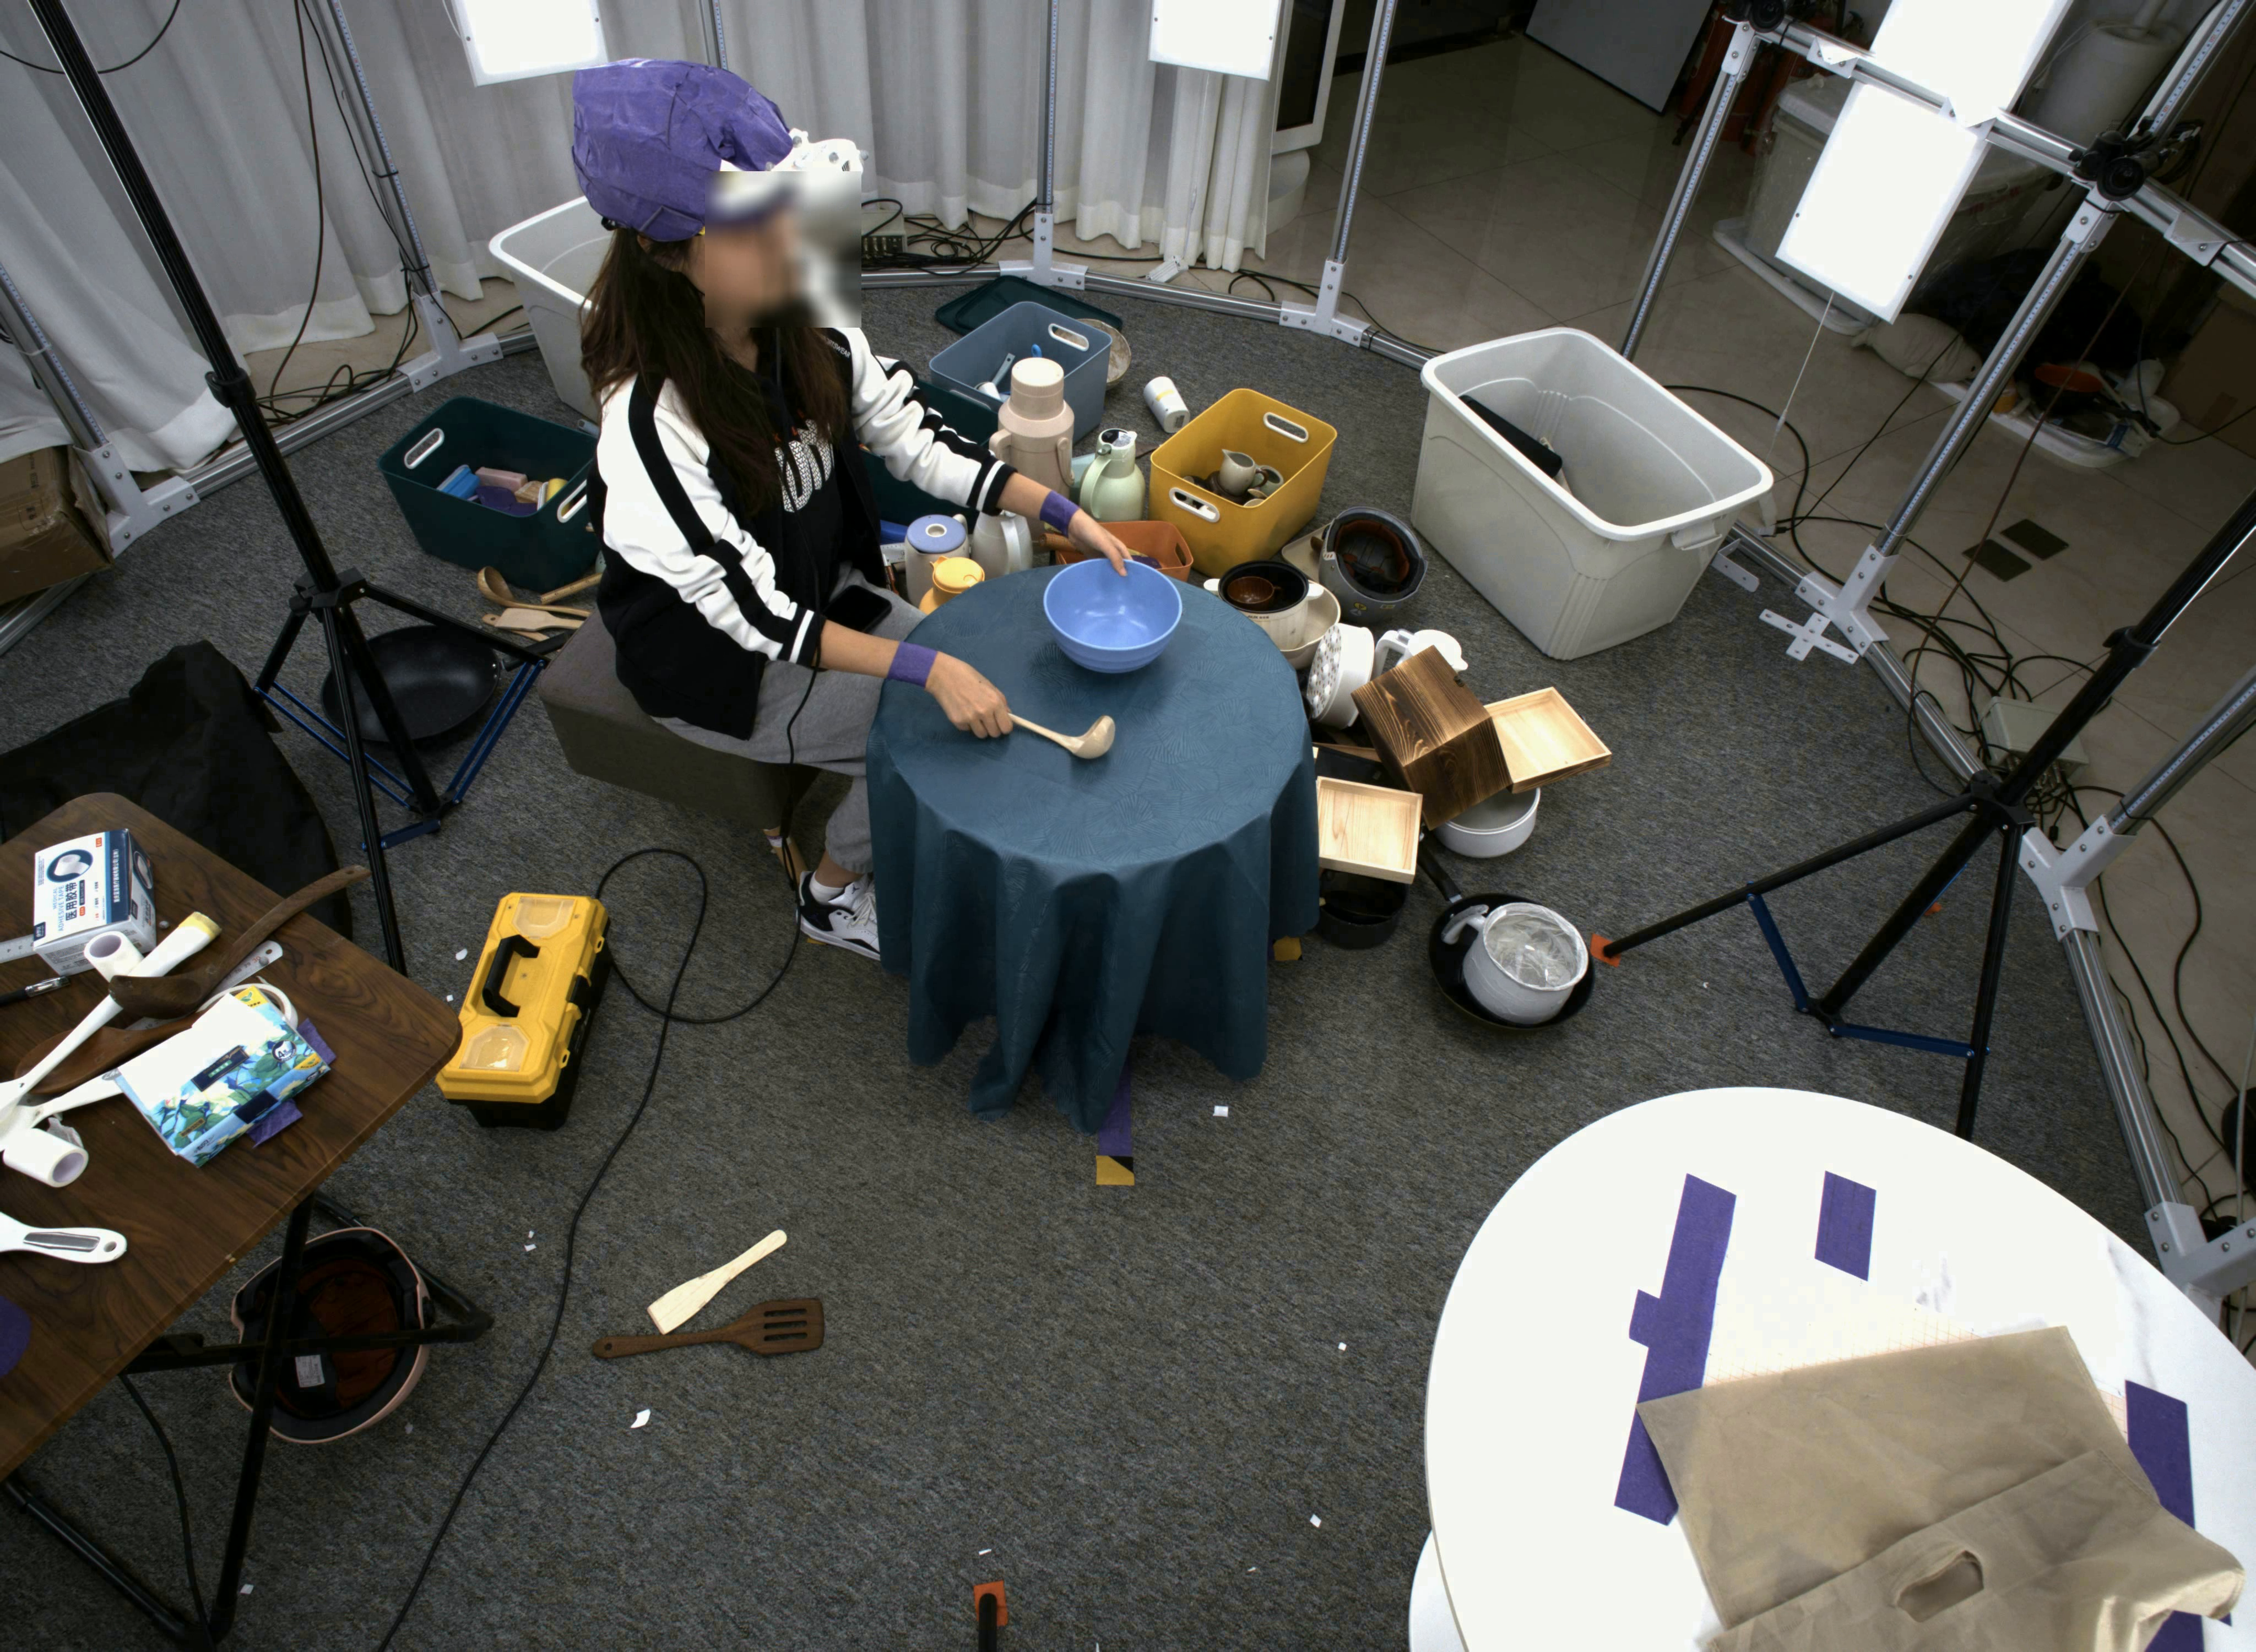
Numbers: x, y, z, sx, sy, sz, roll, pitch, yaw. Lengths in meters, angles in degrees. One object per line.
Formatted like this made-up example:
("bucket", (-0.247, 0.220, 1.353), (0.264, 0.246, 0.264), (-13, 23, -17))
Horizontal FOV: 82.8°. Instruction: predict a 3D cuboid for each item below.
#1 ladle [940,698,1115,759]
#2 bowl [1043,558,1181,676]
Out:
("ladle", (-0.141, -0.157, 1.748), (0.255, 0.071, 0.073), (19, 49, 11))
("bowl", (-0.025, -0.286, 1.859), (0.196, 0.093, 0.201), (2, 51, -2))
